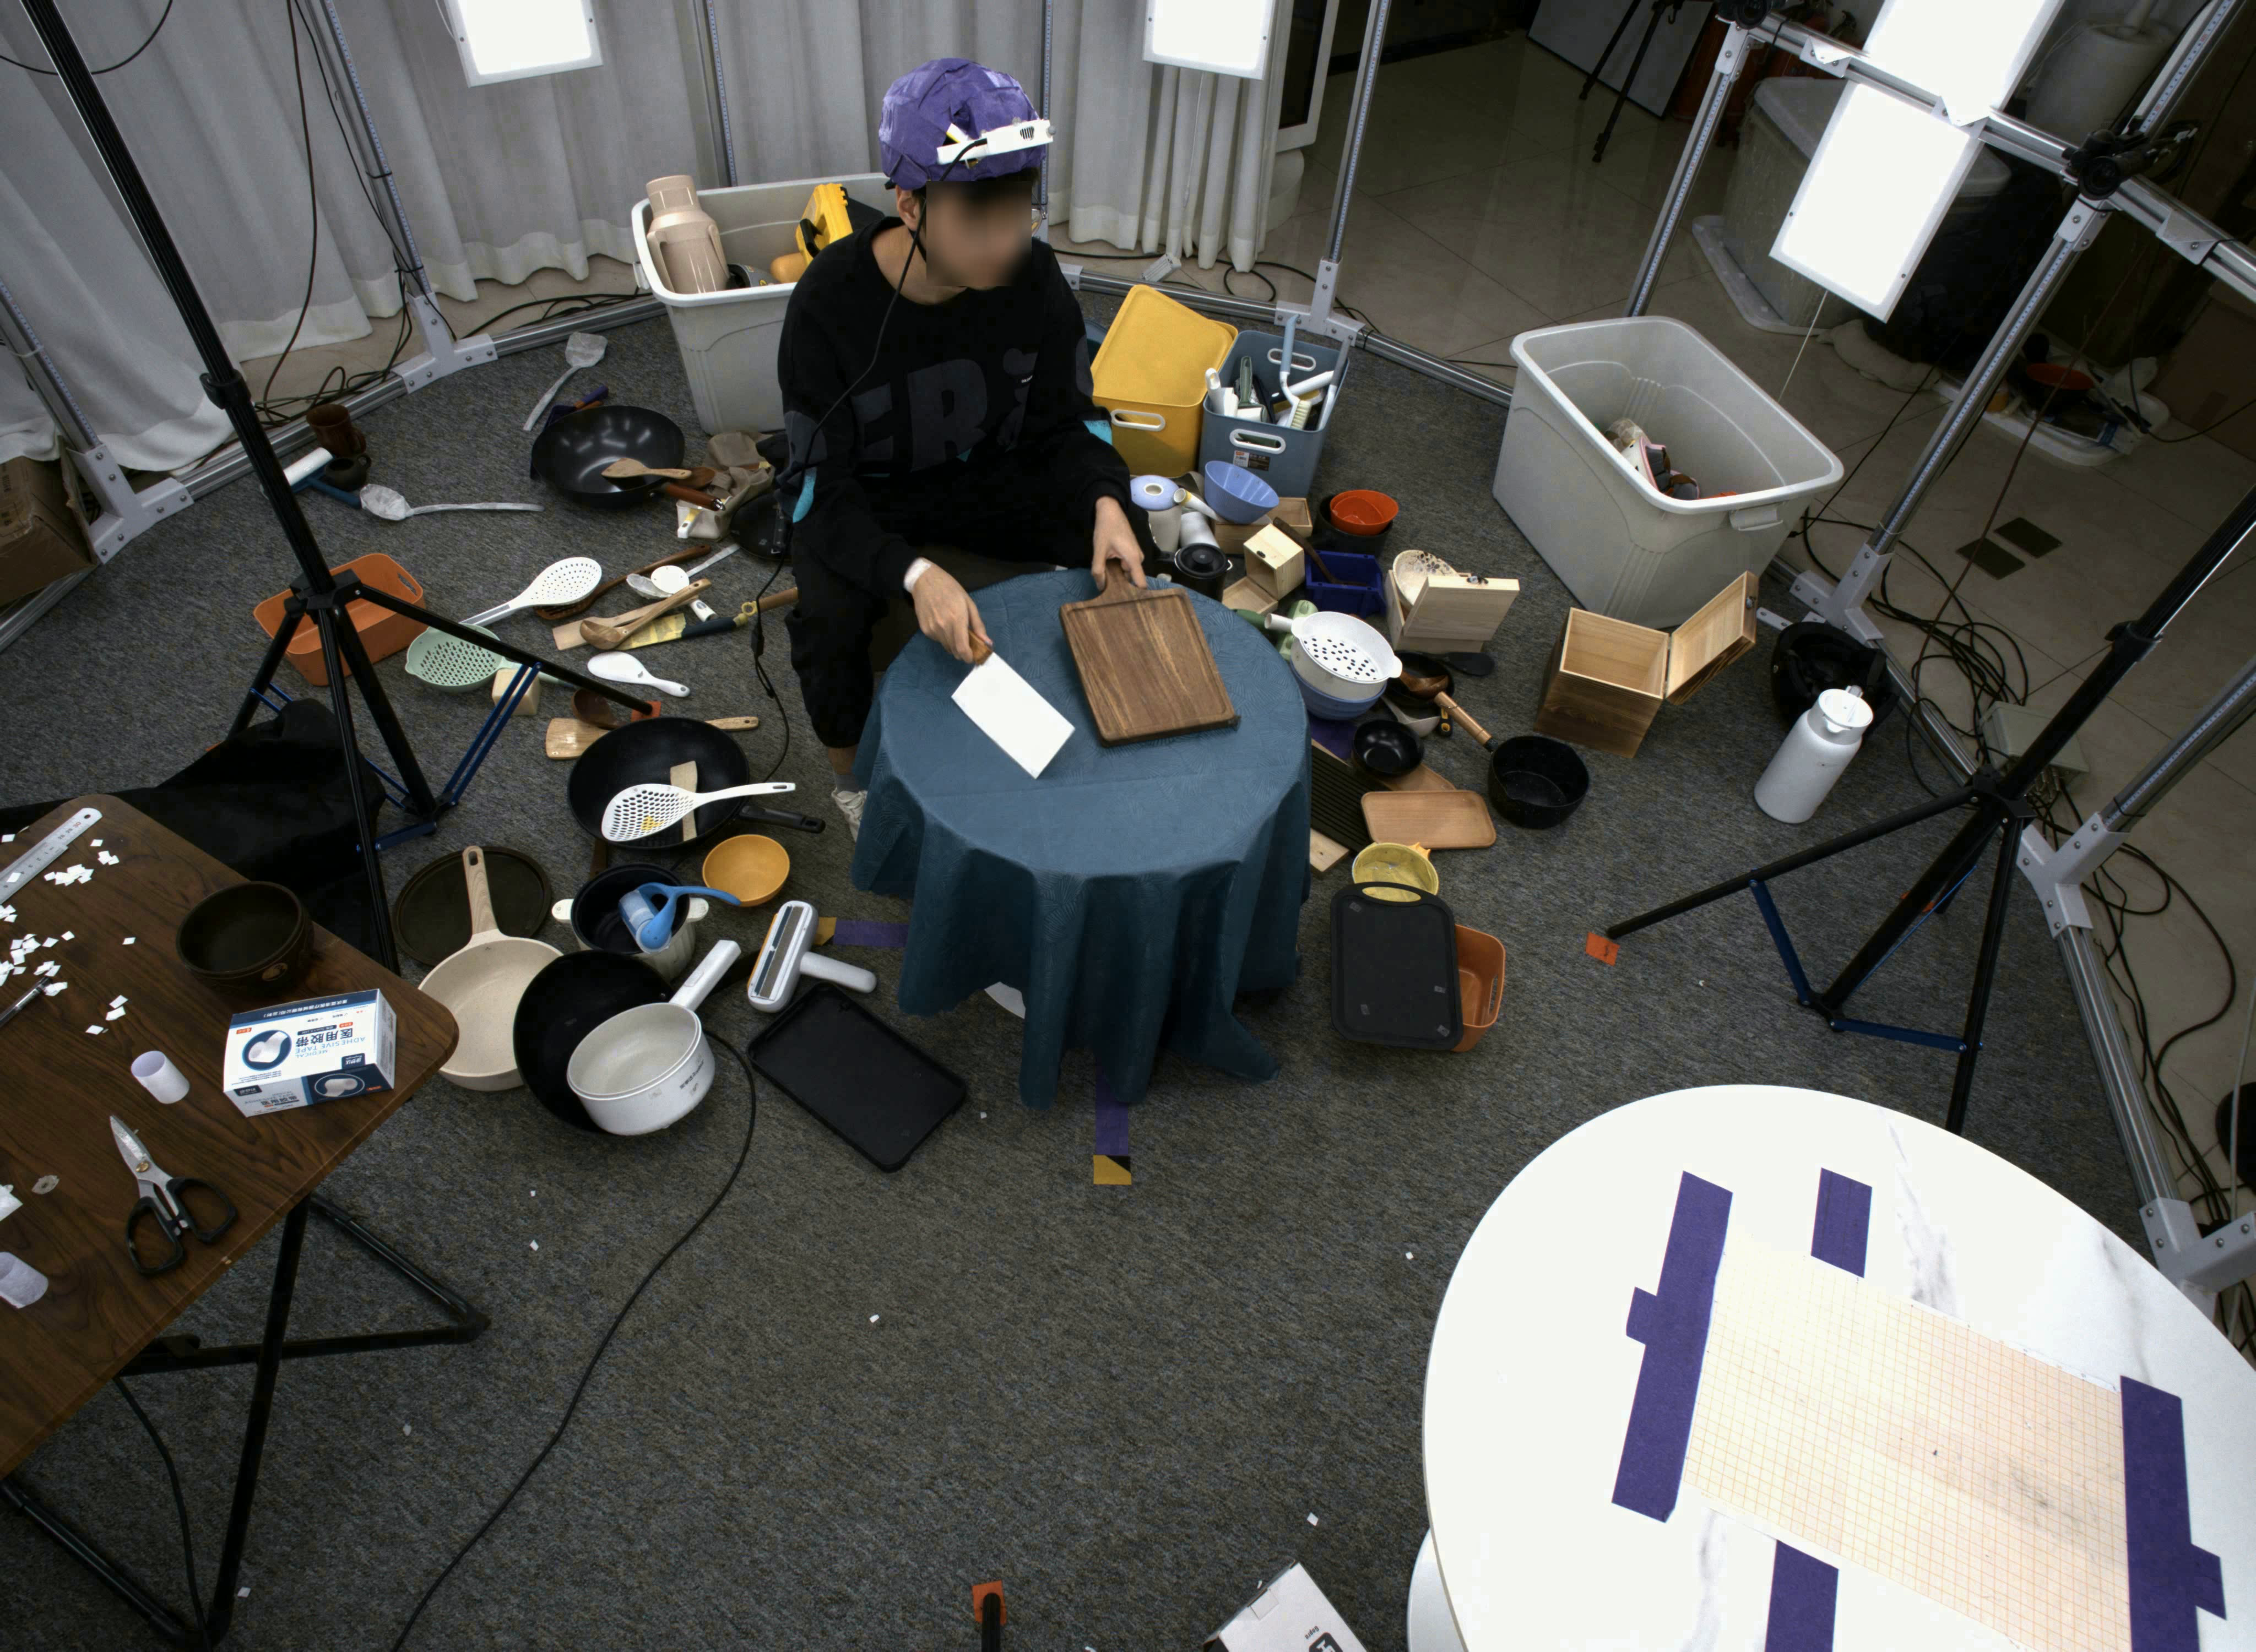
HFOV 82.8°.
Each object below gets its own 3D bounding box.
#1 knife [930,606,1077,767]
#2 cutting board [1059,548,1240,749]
[{"bbox_3d":[-0.190,-0.191,1.779,0.092,0.021,0.311,-50,62,7],"label":"knife"},{"bbox_3d":[0.015,-0.271,1.864,0.201,0.023,0.360,-11,58,-13],"label":"cutting board"}]
